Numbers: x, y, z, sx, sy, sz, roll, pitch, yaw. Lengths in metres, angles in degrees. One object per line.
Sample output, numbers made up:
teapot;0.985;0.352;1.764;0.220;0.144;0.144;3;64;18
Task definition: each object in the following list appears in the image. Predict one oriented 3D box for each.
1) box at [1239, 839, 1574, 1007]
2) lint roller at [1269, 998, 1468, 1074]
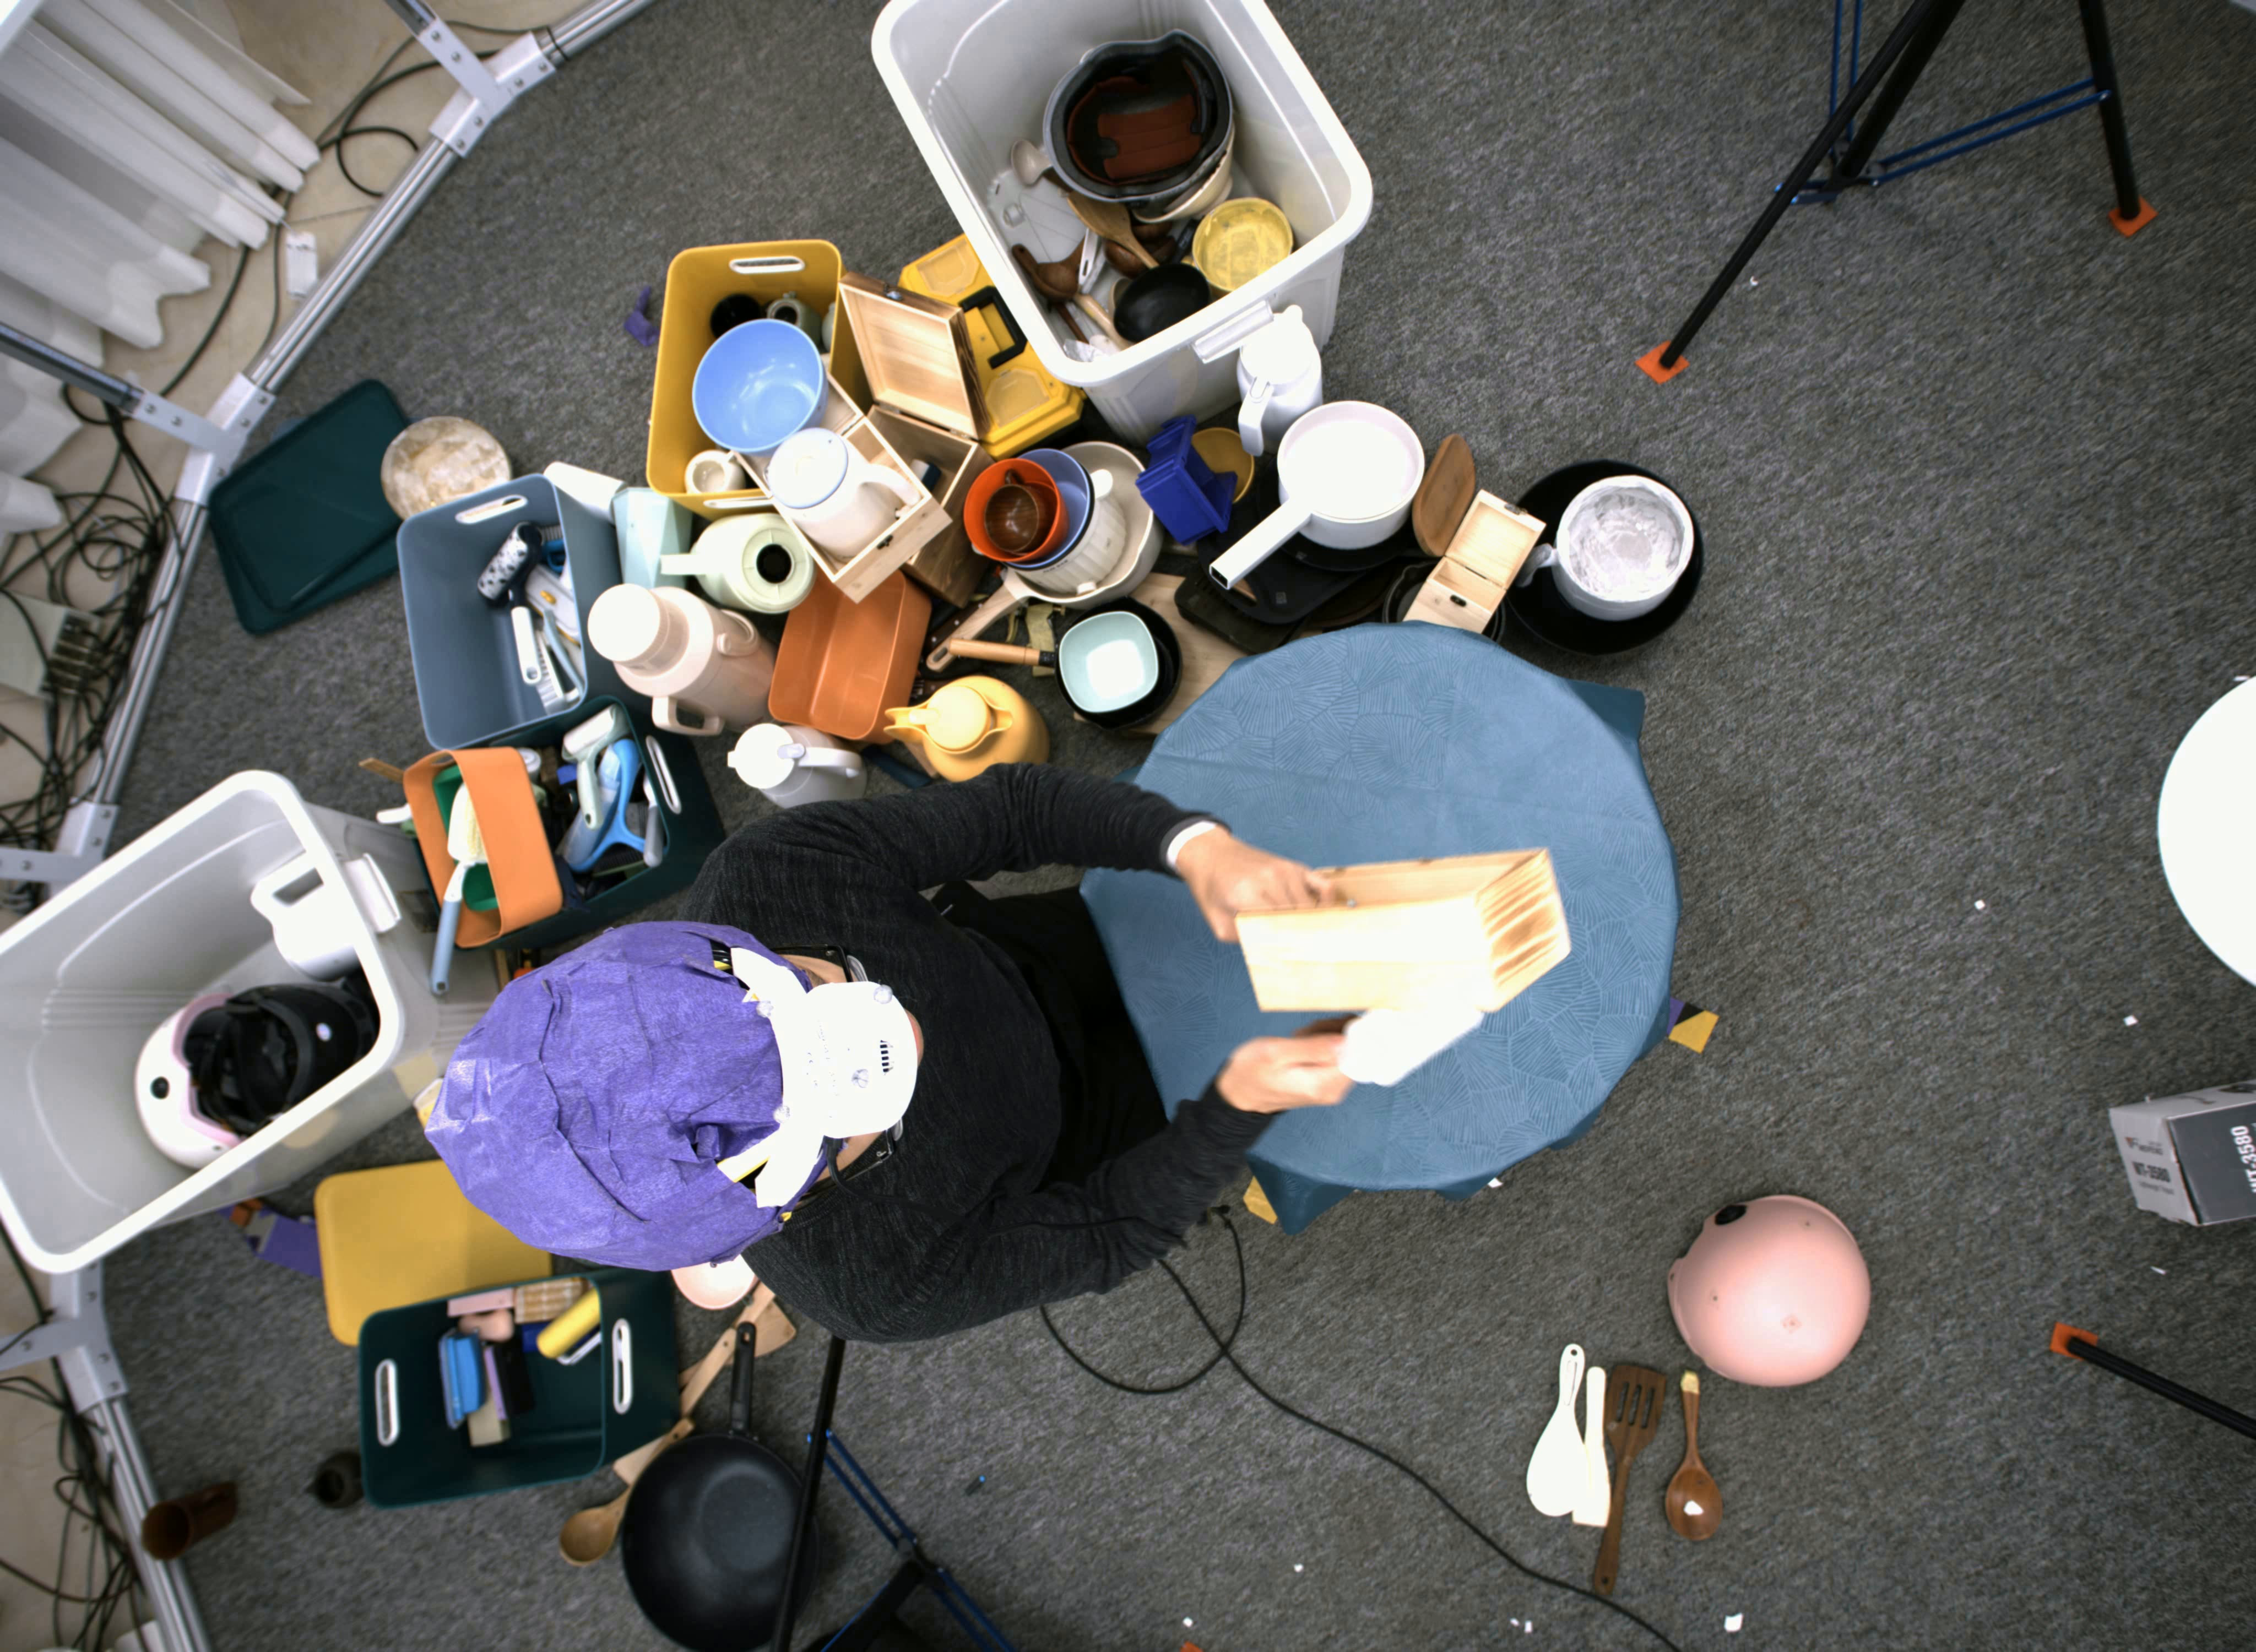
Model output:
box;0.200;0.072;1.010;0.214;0.105;0.080;-10;102;47
lint roller;0.169;0.167;1.060;0.050;0.131;0.185;58;141;10
